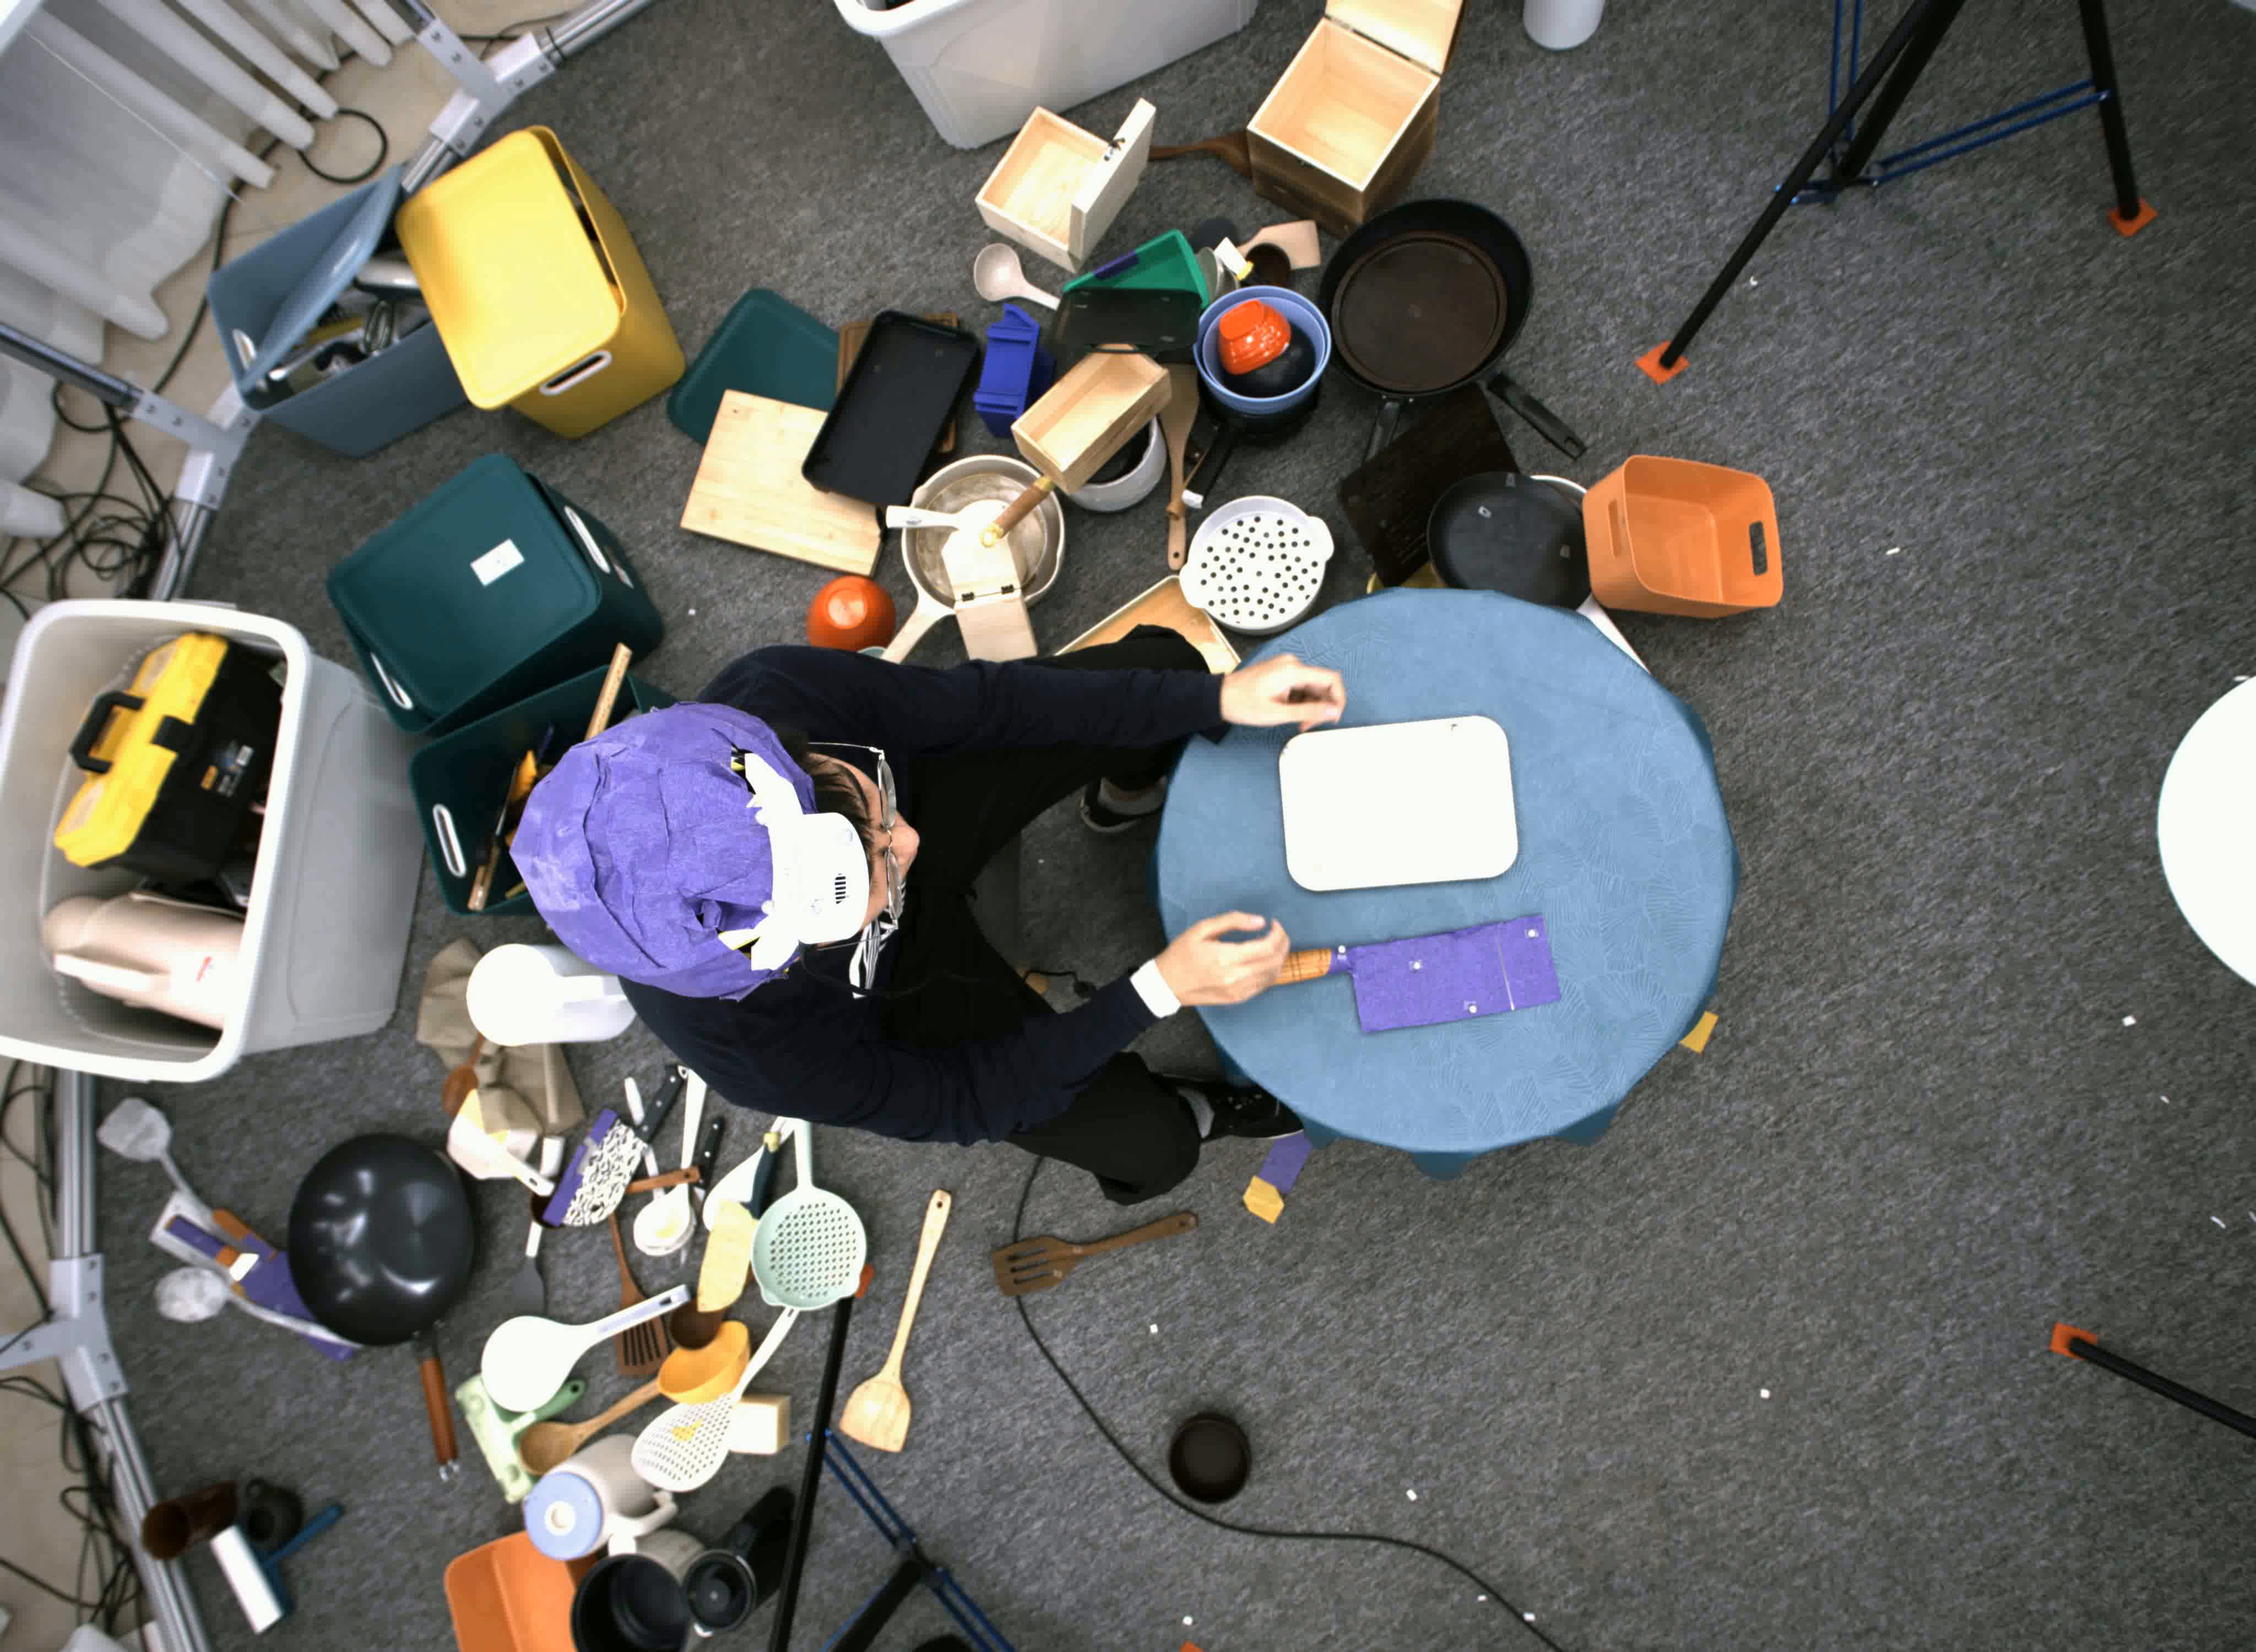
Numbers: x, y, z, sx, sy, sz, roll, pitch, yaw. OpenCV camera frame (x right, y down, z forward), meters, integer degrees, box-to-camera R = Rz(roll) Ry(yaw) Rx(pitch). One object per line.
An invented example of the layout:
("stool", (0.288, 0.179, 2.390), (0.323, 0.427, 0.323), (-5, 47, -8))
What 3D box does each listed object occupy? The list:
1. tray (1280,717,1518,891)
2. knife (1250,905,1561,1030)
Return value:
("tray", (0.284, -0.024, 1.454), (0.241, 0.017, 0.170), (-5, 87, 10))
("knife", (0.288, 0.159, 1.438), (0.317, 0.032, 0.103), (-11, 84, 9))
